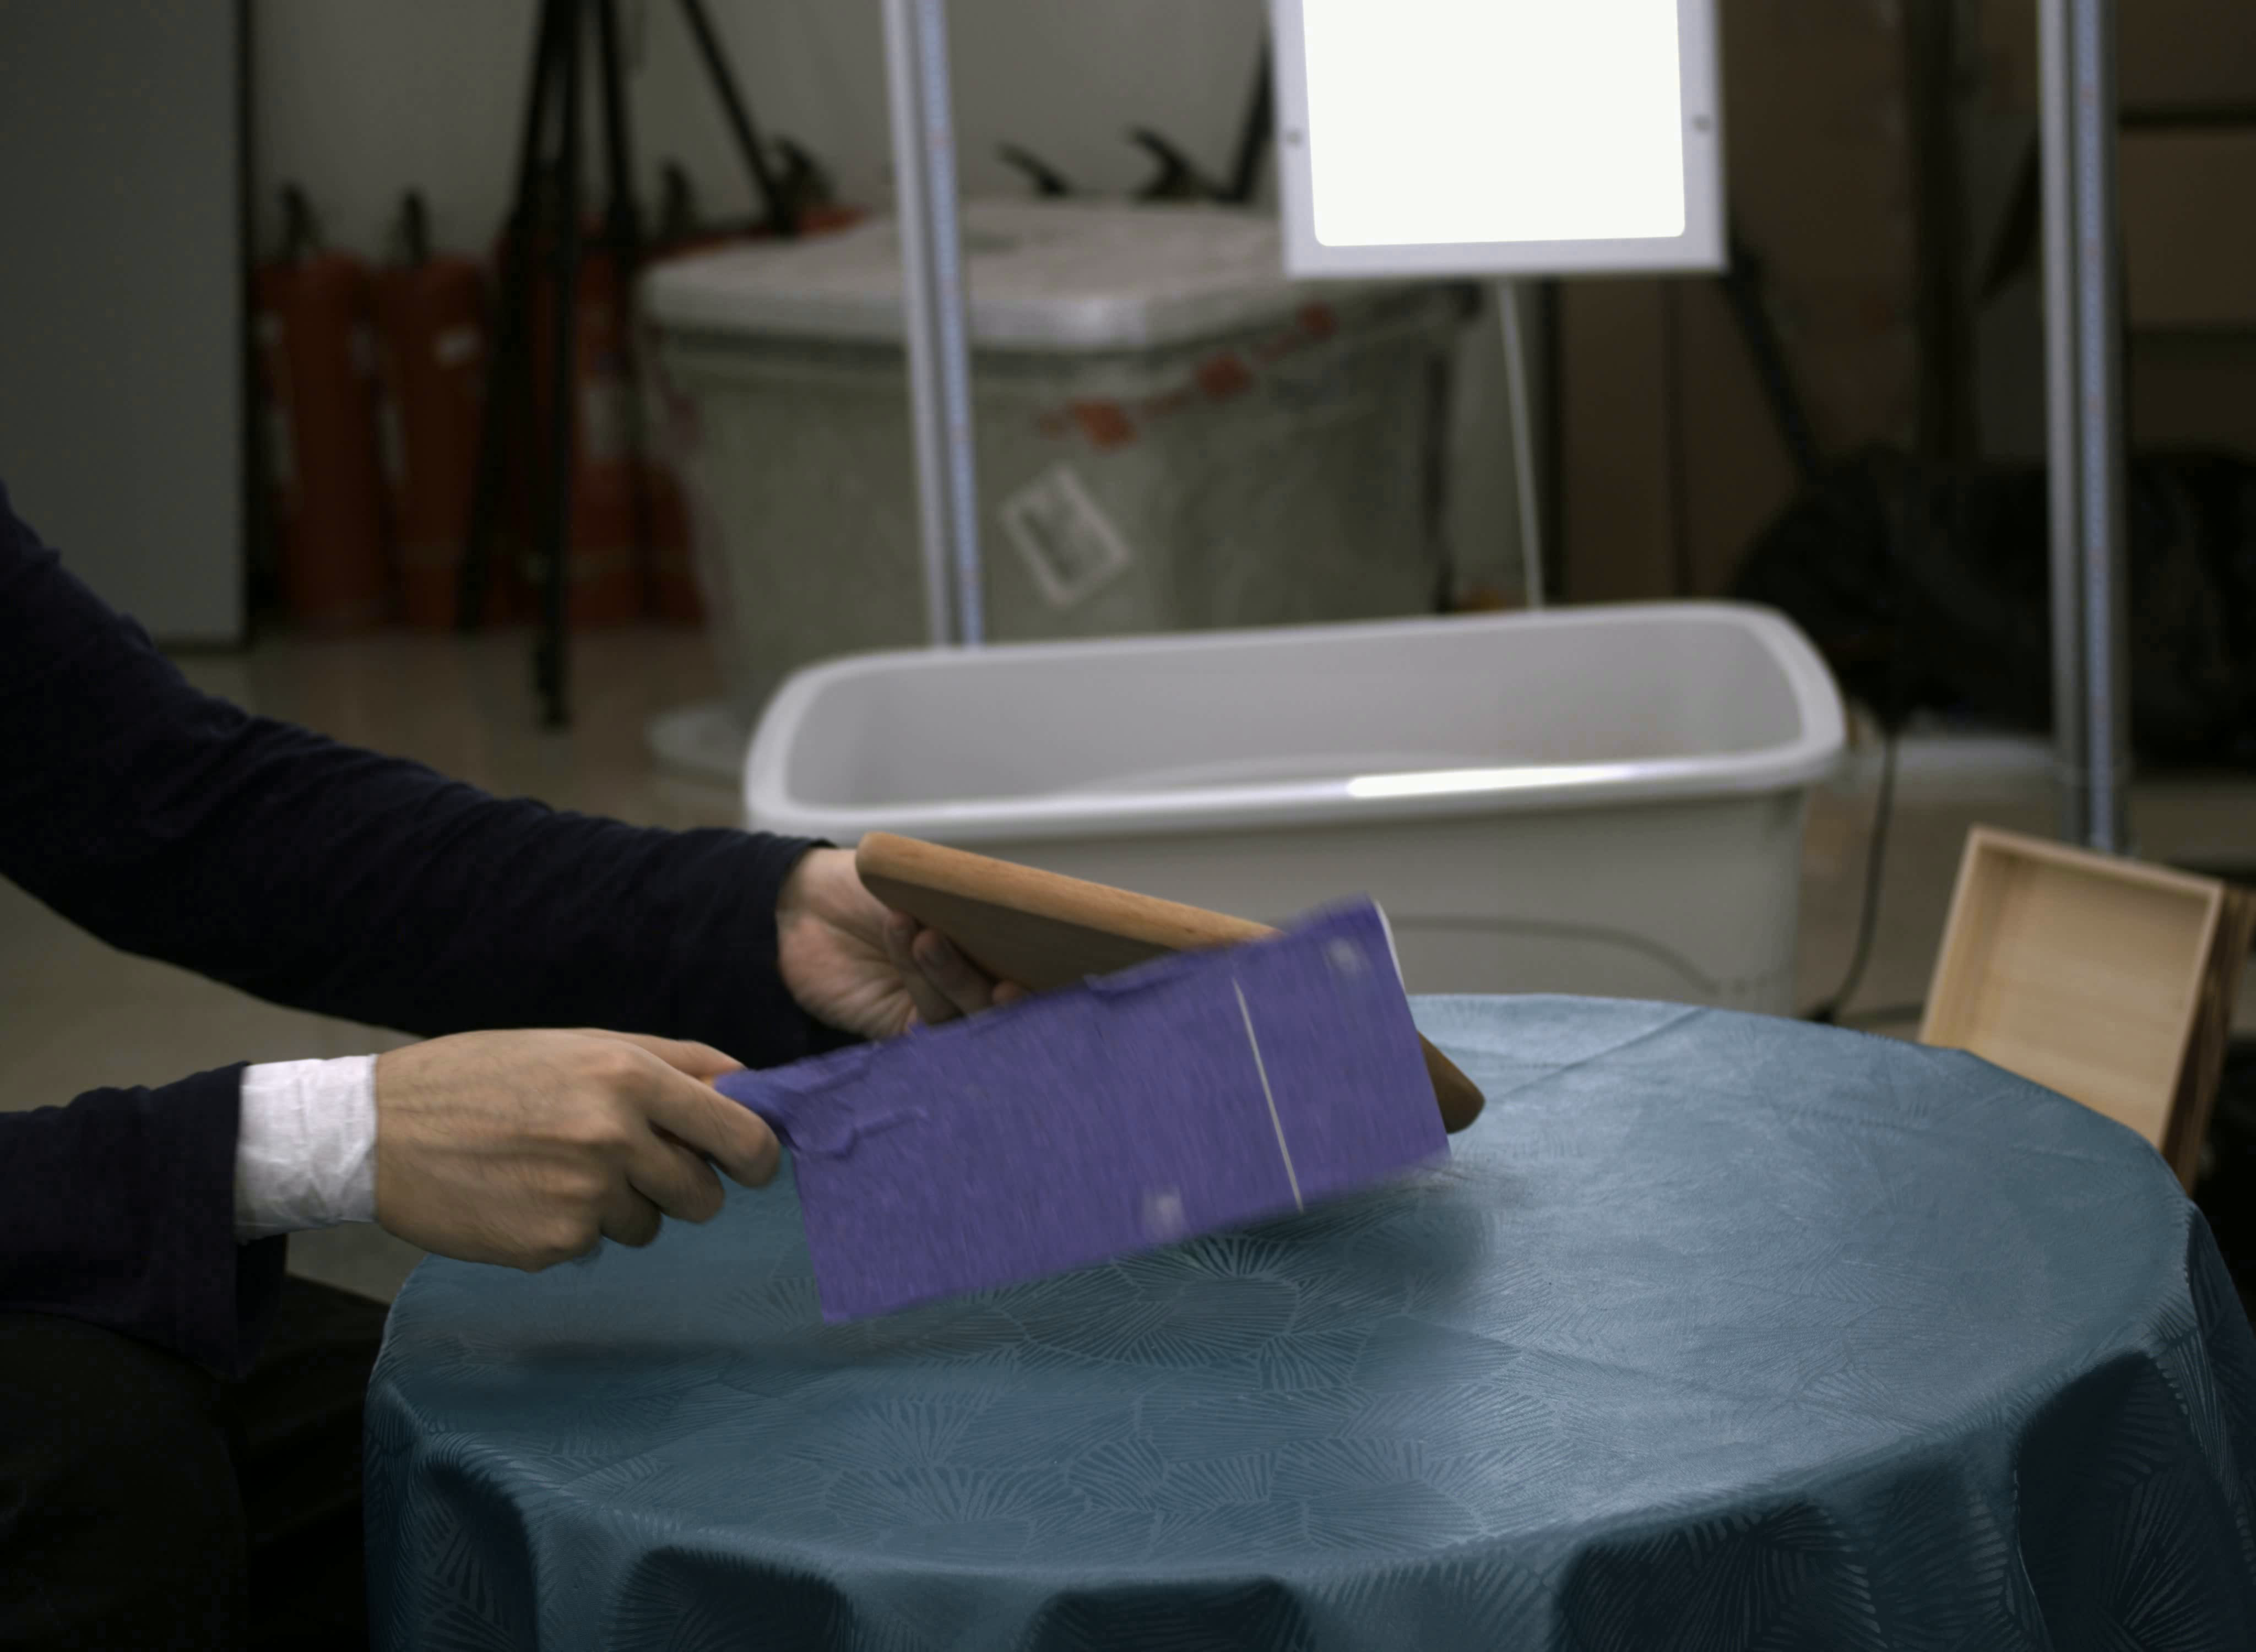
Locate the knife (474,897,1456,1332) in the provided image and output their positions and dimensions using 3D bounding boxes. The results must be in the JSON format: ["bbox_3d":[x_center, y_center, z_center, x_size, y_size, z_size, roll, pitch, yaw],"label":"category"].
[{"bbox_3d":[-0.054,0.108,1.756,0.317,0.104,0.032,-16,-24,11],"label":"knife"}]

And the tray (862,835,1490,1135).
[{"bbox_3d":[0.012,0.056,1.934,0.256,0.129,0.023,11,63,49],"label":"tray"}]
